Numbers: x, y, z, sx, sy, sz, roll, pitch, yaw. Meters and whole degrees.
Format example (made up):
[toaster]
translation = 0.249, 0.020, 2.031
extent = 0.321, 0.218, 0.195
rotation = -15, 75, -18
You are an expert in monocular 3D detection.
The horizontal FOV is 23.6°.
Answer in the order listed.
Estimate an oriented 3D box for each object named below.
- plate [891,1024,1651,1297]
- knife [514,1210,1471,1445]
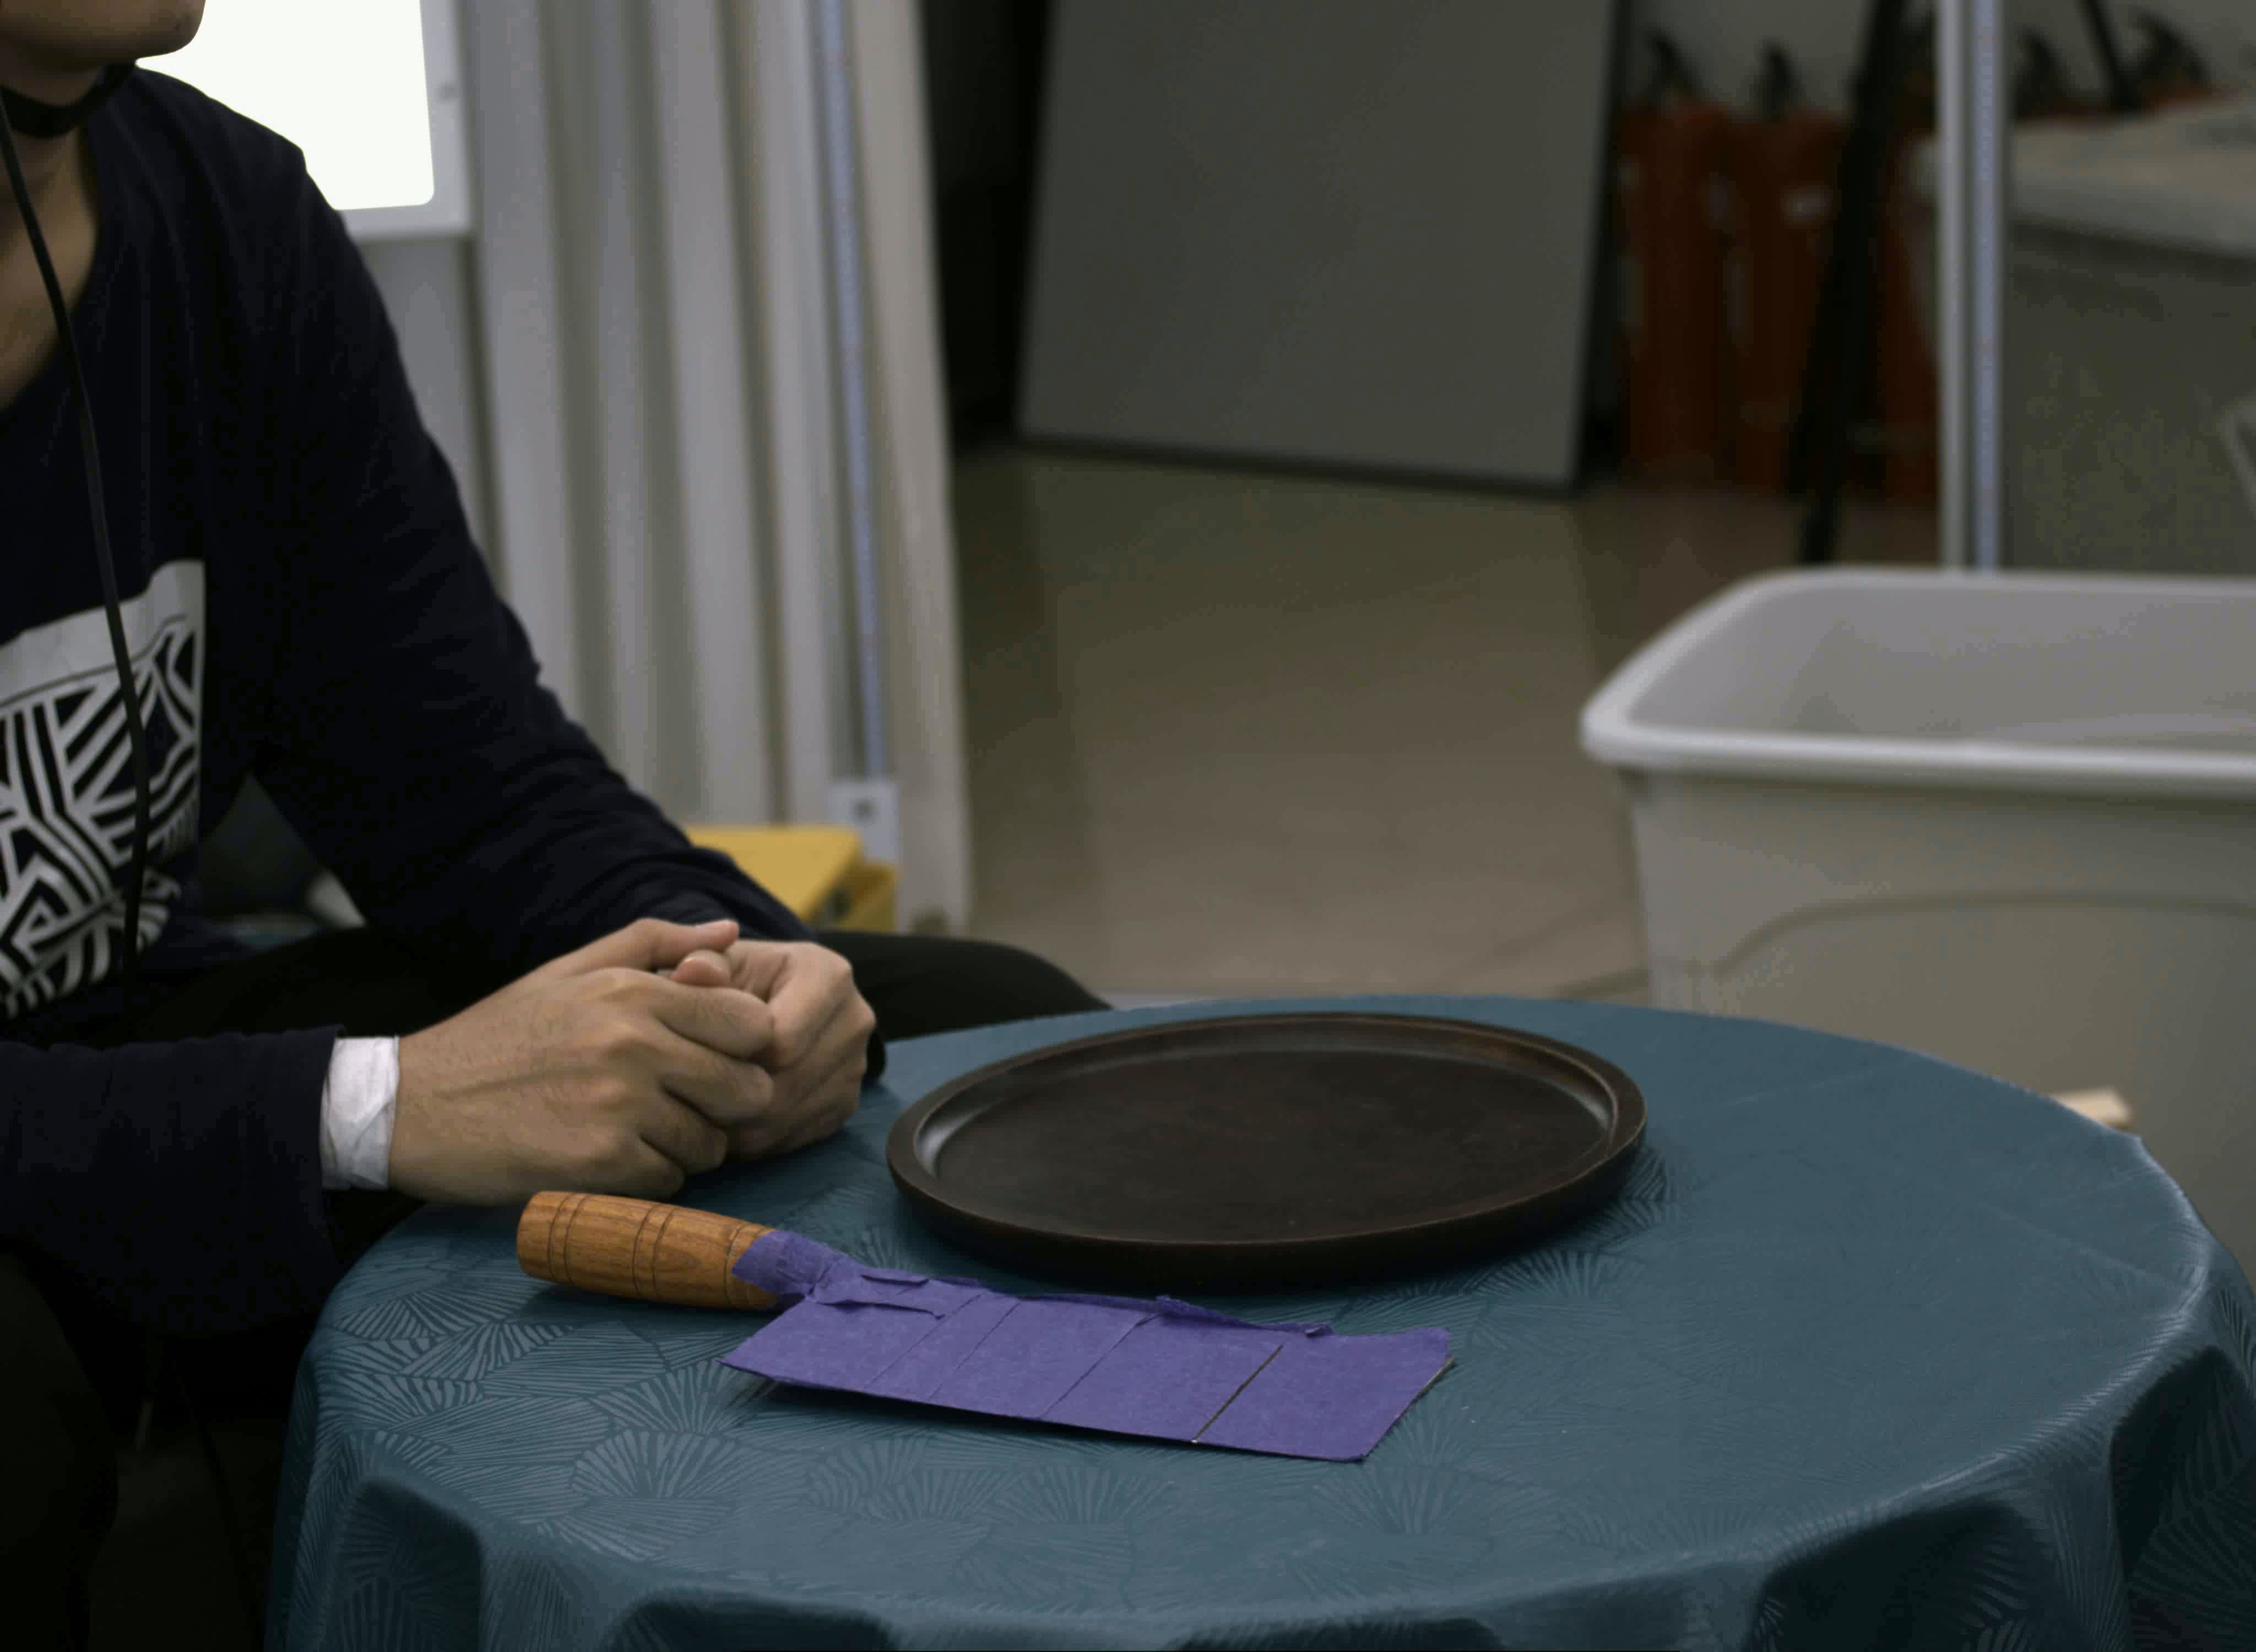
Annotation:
[plate]
translation = 0.047, 0.107, 1.770
extent = 0.251, 0.029, 0.255
rotation = -3, 14, 0
[knife]
translation = -0.057, 0.150, 1.617
extent = 0.315, 0.032, 0.102
rotation = 3, 15, 25
